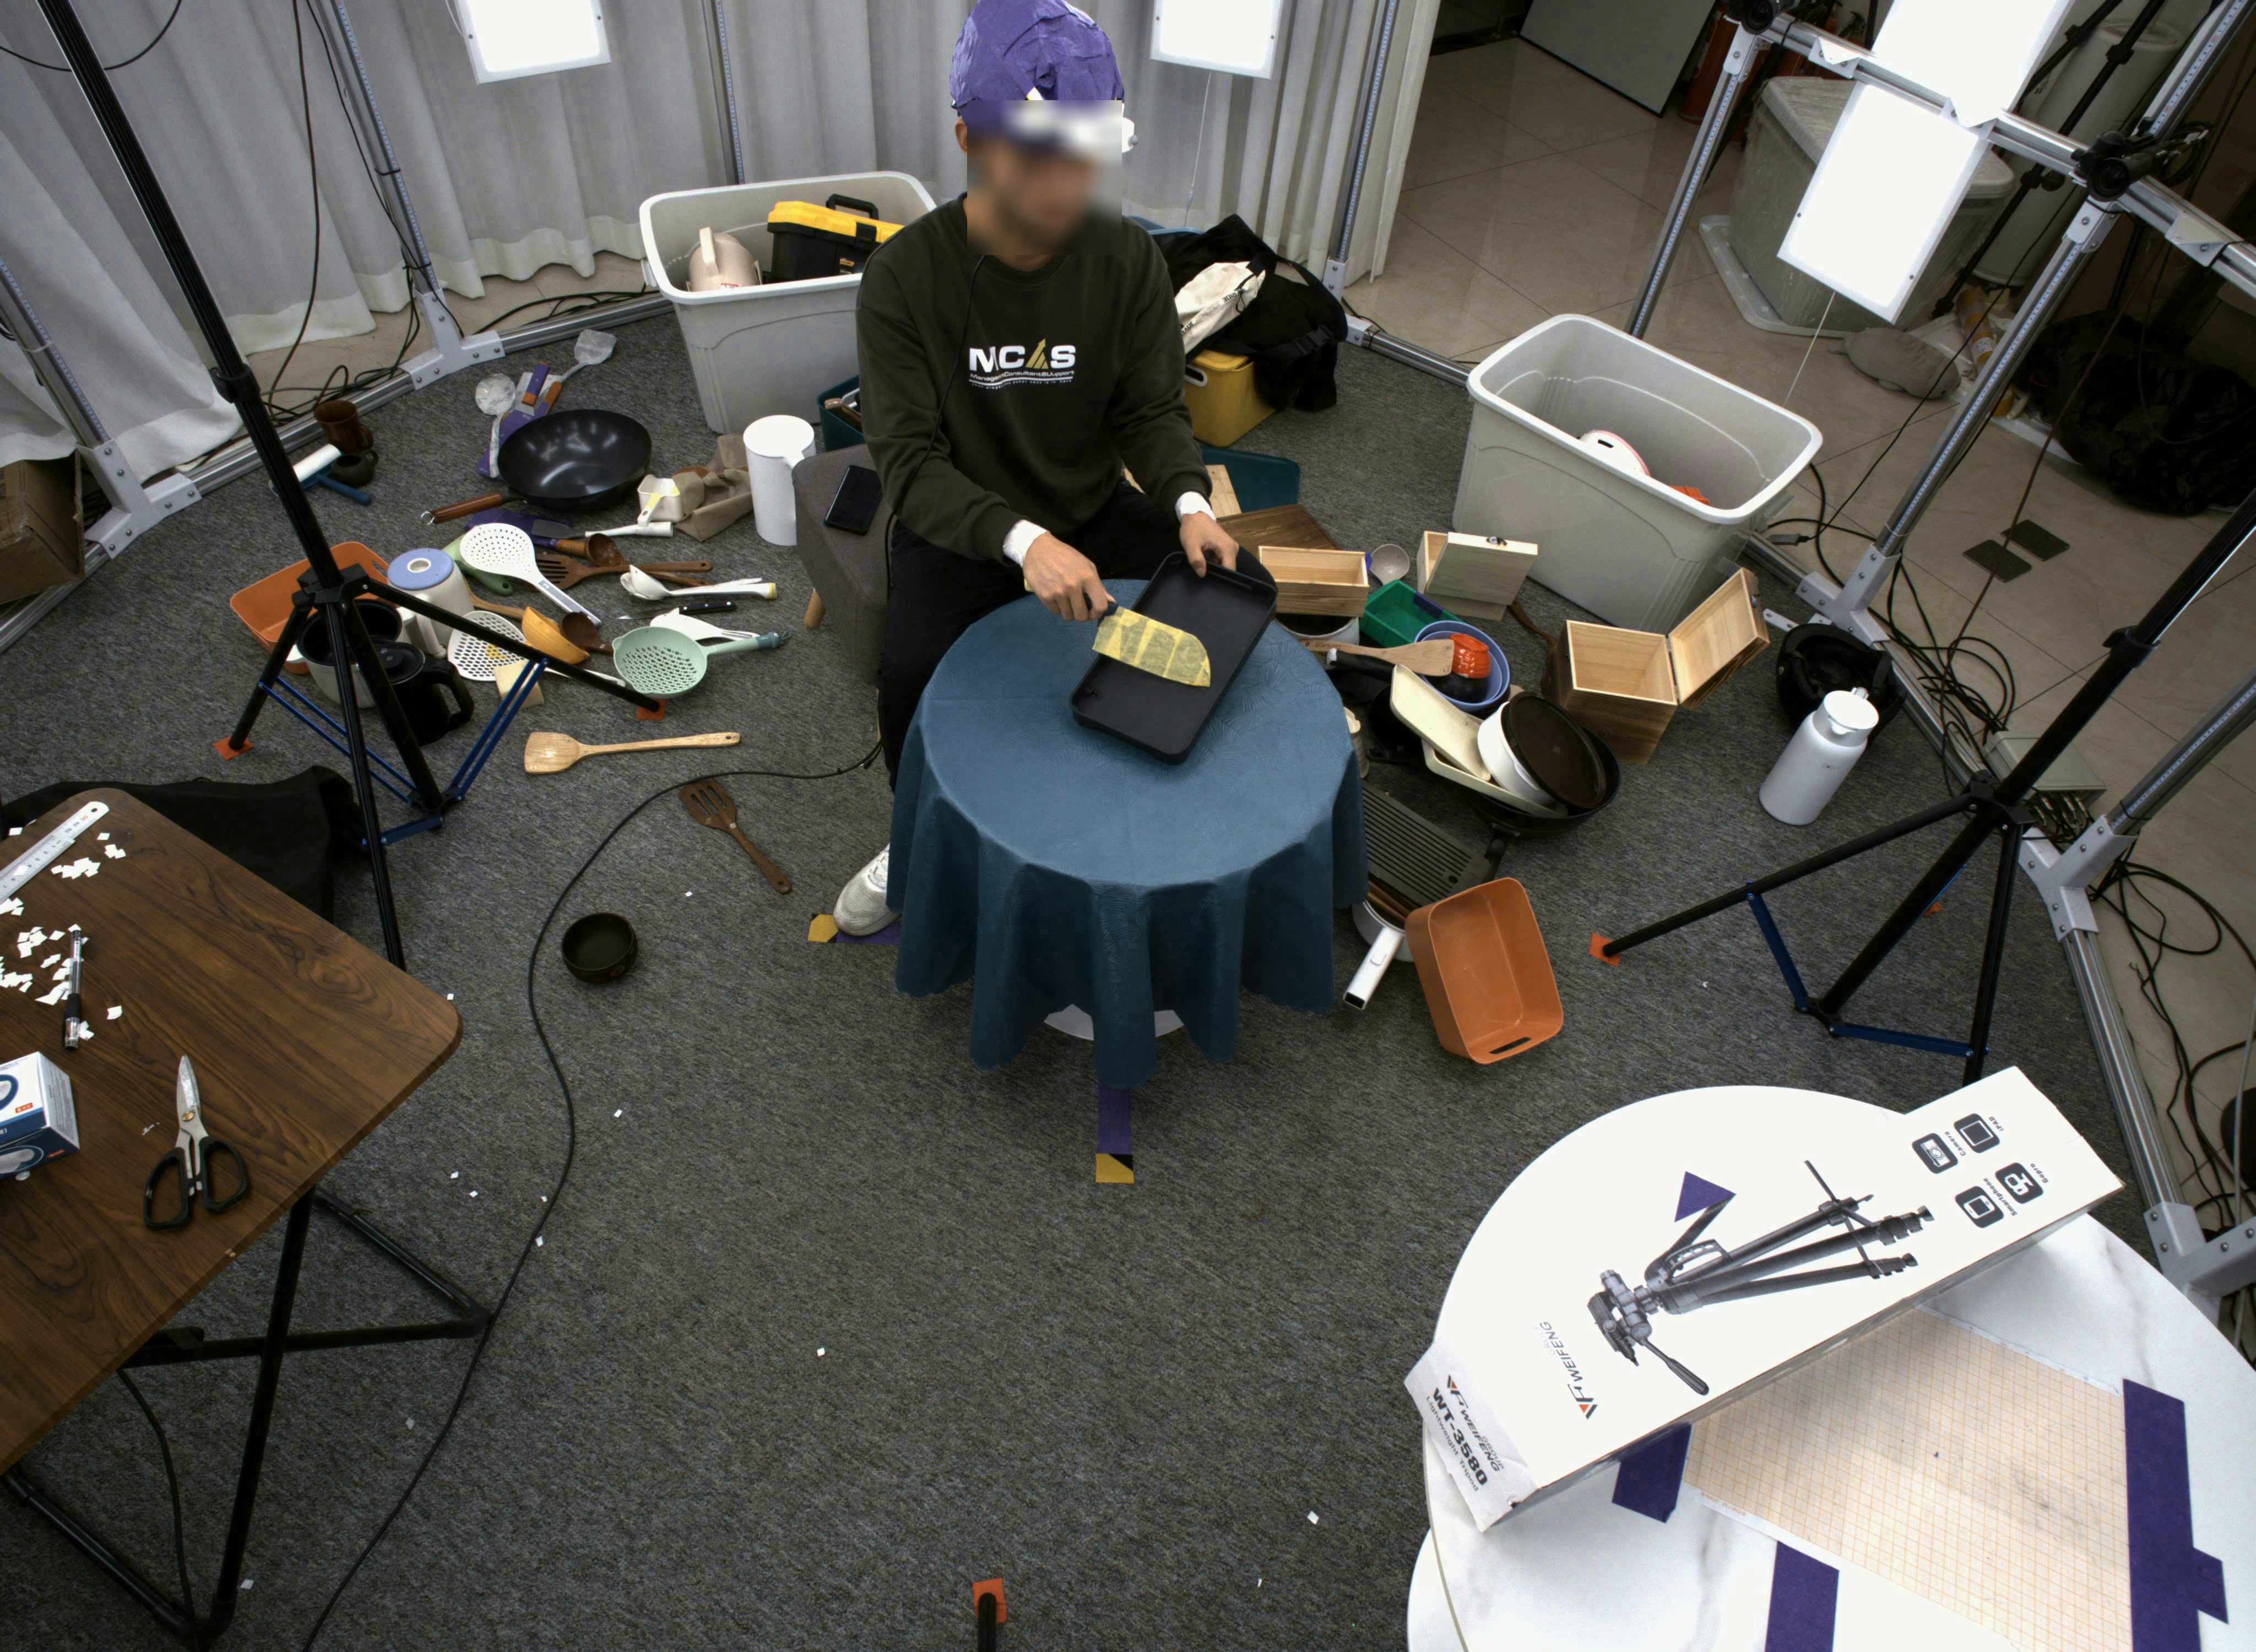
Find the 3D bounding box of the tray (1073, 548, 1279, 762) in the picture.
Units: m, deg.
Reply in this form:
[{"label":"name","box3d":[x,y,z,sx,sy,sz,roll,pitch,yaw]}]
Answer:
[{"label":"tray","box3d":[0.071,-0.247,1.818,0.186,0.036,0.322,22,65,18]}]

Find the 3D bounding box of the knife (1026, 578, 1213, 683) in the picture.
[{"label":"knife","box3d":[-0.014,-0.273,1.794,0.290,0.080,0.027,25,18,2]}]
